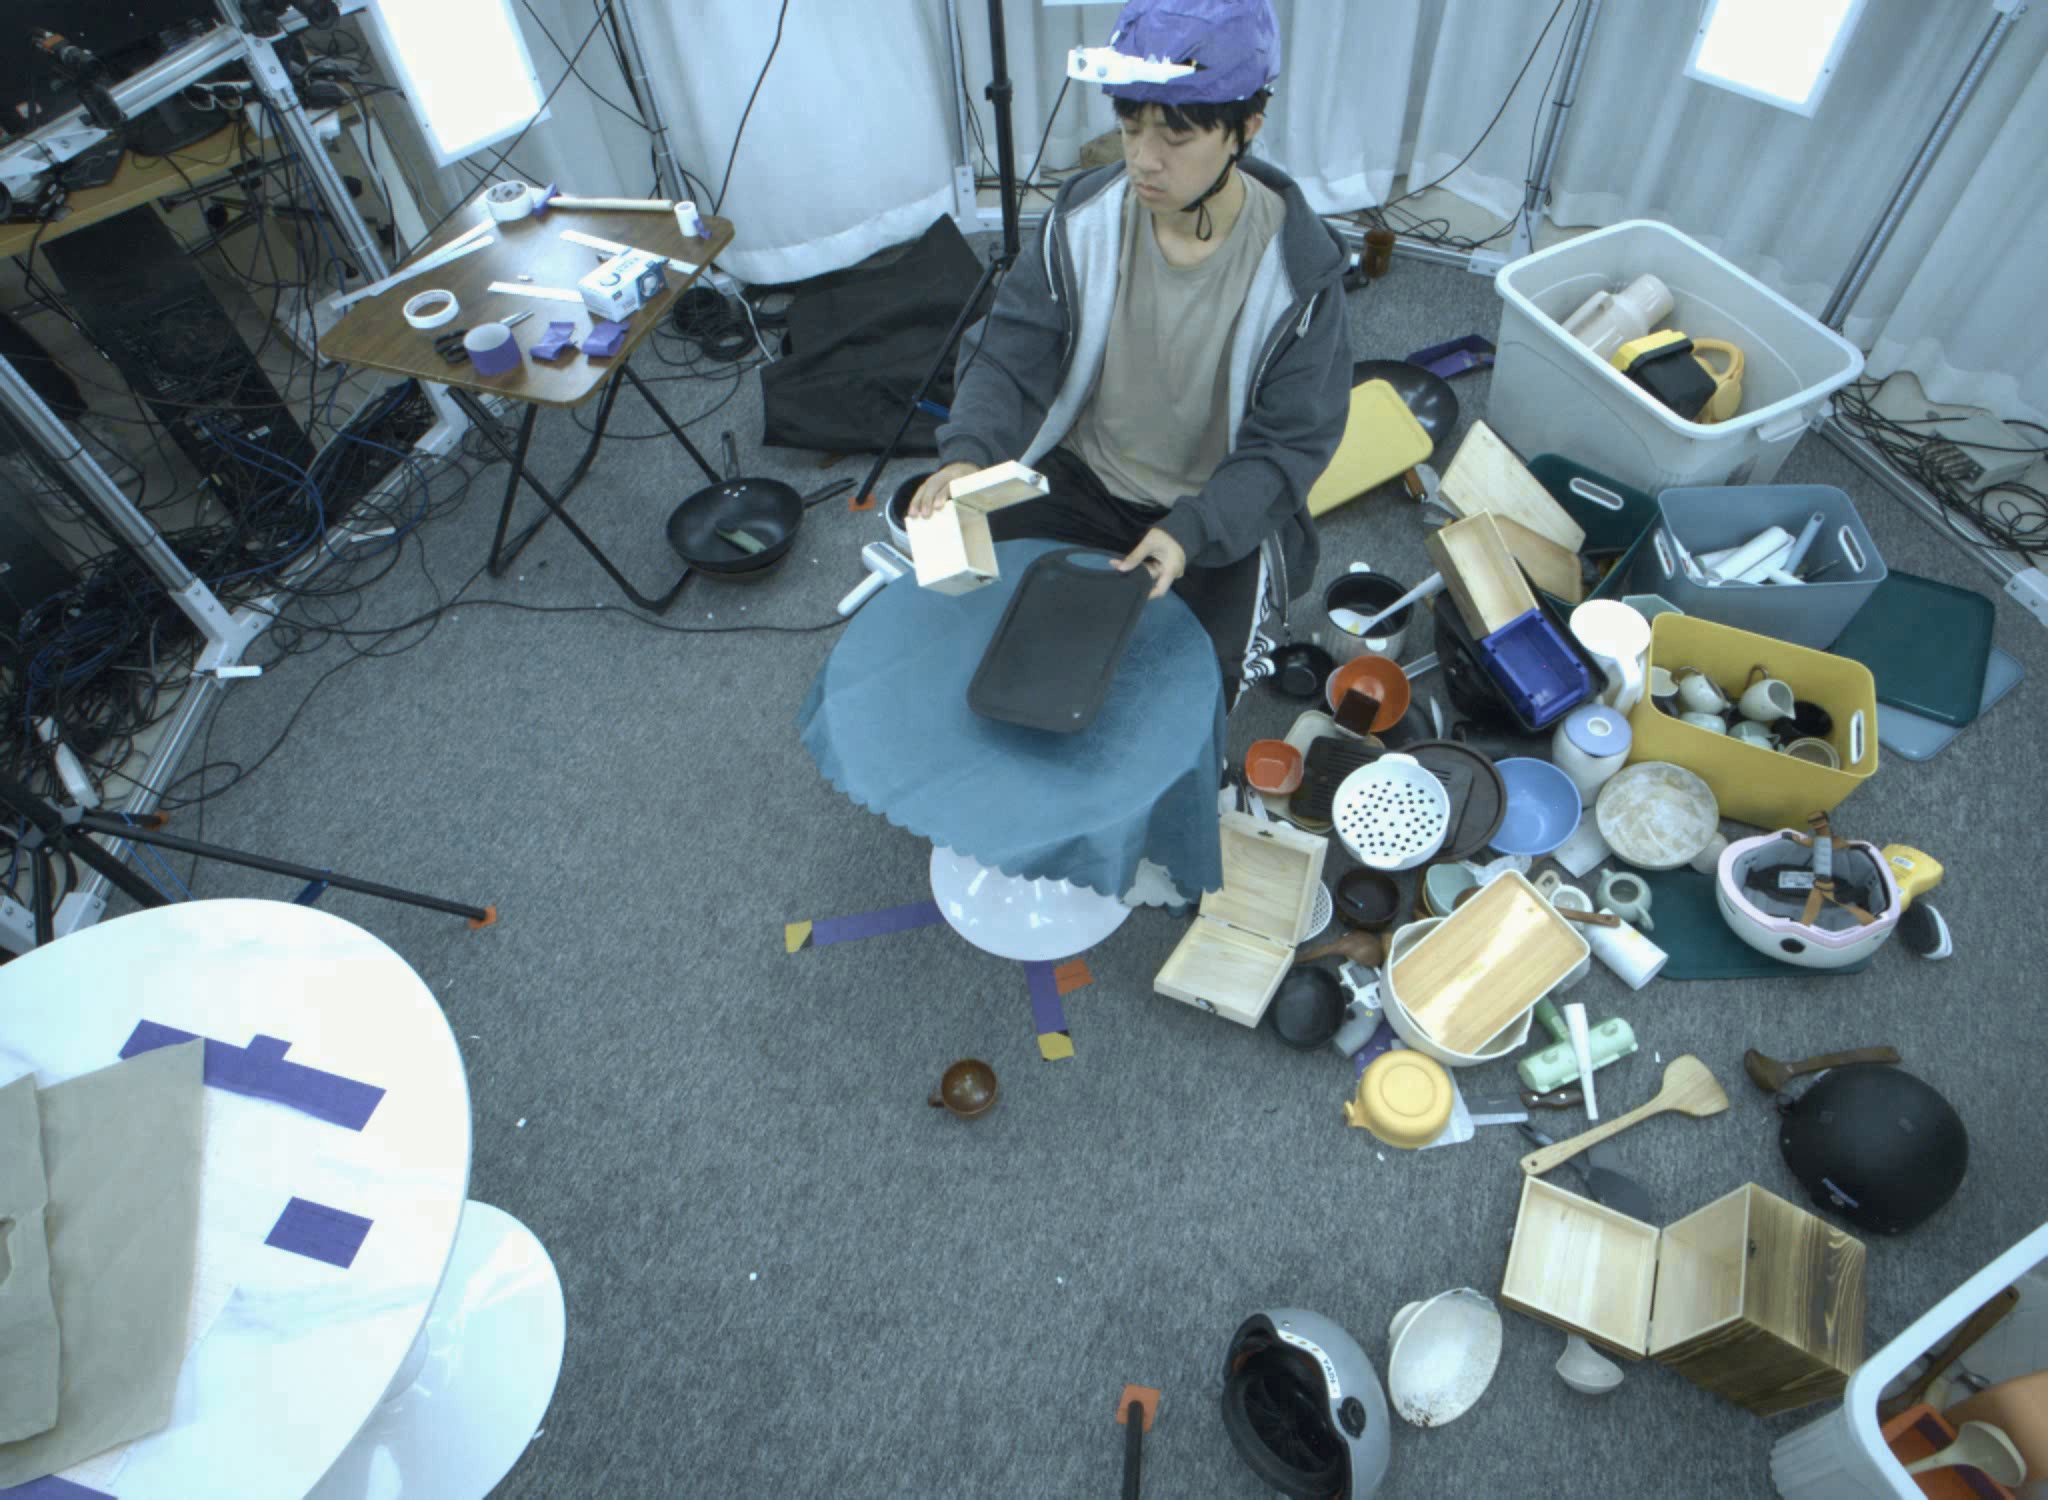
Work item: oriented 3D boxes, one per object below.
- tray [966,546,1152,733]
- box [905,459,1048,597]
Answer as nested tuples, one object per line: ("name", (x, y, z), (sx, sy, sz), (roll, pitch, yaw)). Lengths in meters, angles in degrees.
("tray", (0.055, -0.174, 1.804), (0.207, 0.010, 0.325), (14, 65, 24))
("box", (-0.057, -0.302, 1.690), (0.182, 0.104, 0.133), (-18, 82, 26))
